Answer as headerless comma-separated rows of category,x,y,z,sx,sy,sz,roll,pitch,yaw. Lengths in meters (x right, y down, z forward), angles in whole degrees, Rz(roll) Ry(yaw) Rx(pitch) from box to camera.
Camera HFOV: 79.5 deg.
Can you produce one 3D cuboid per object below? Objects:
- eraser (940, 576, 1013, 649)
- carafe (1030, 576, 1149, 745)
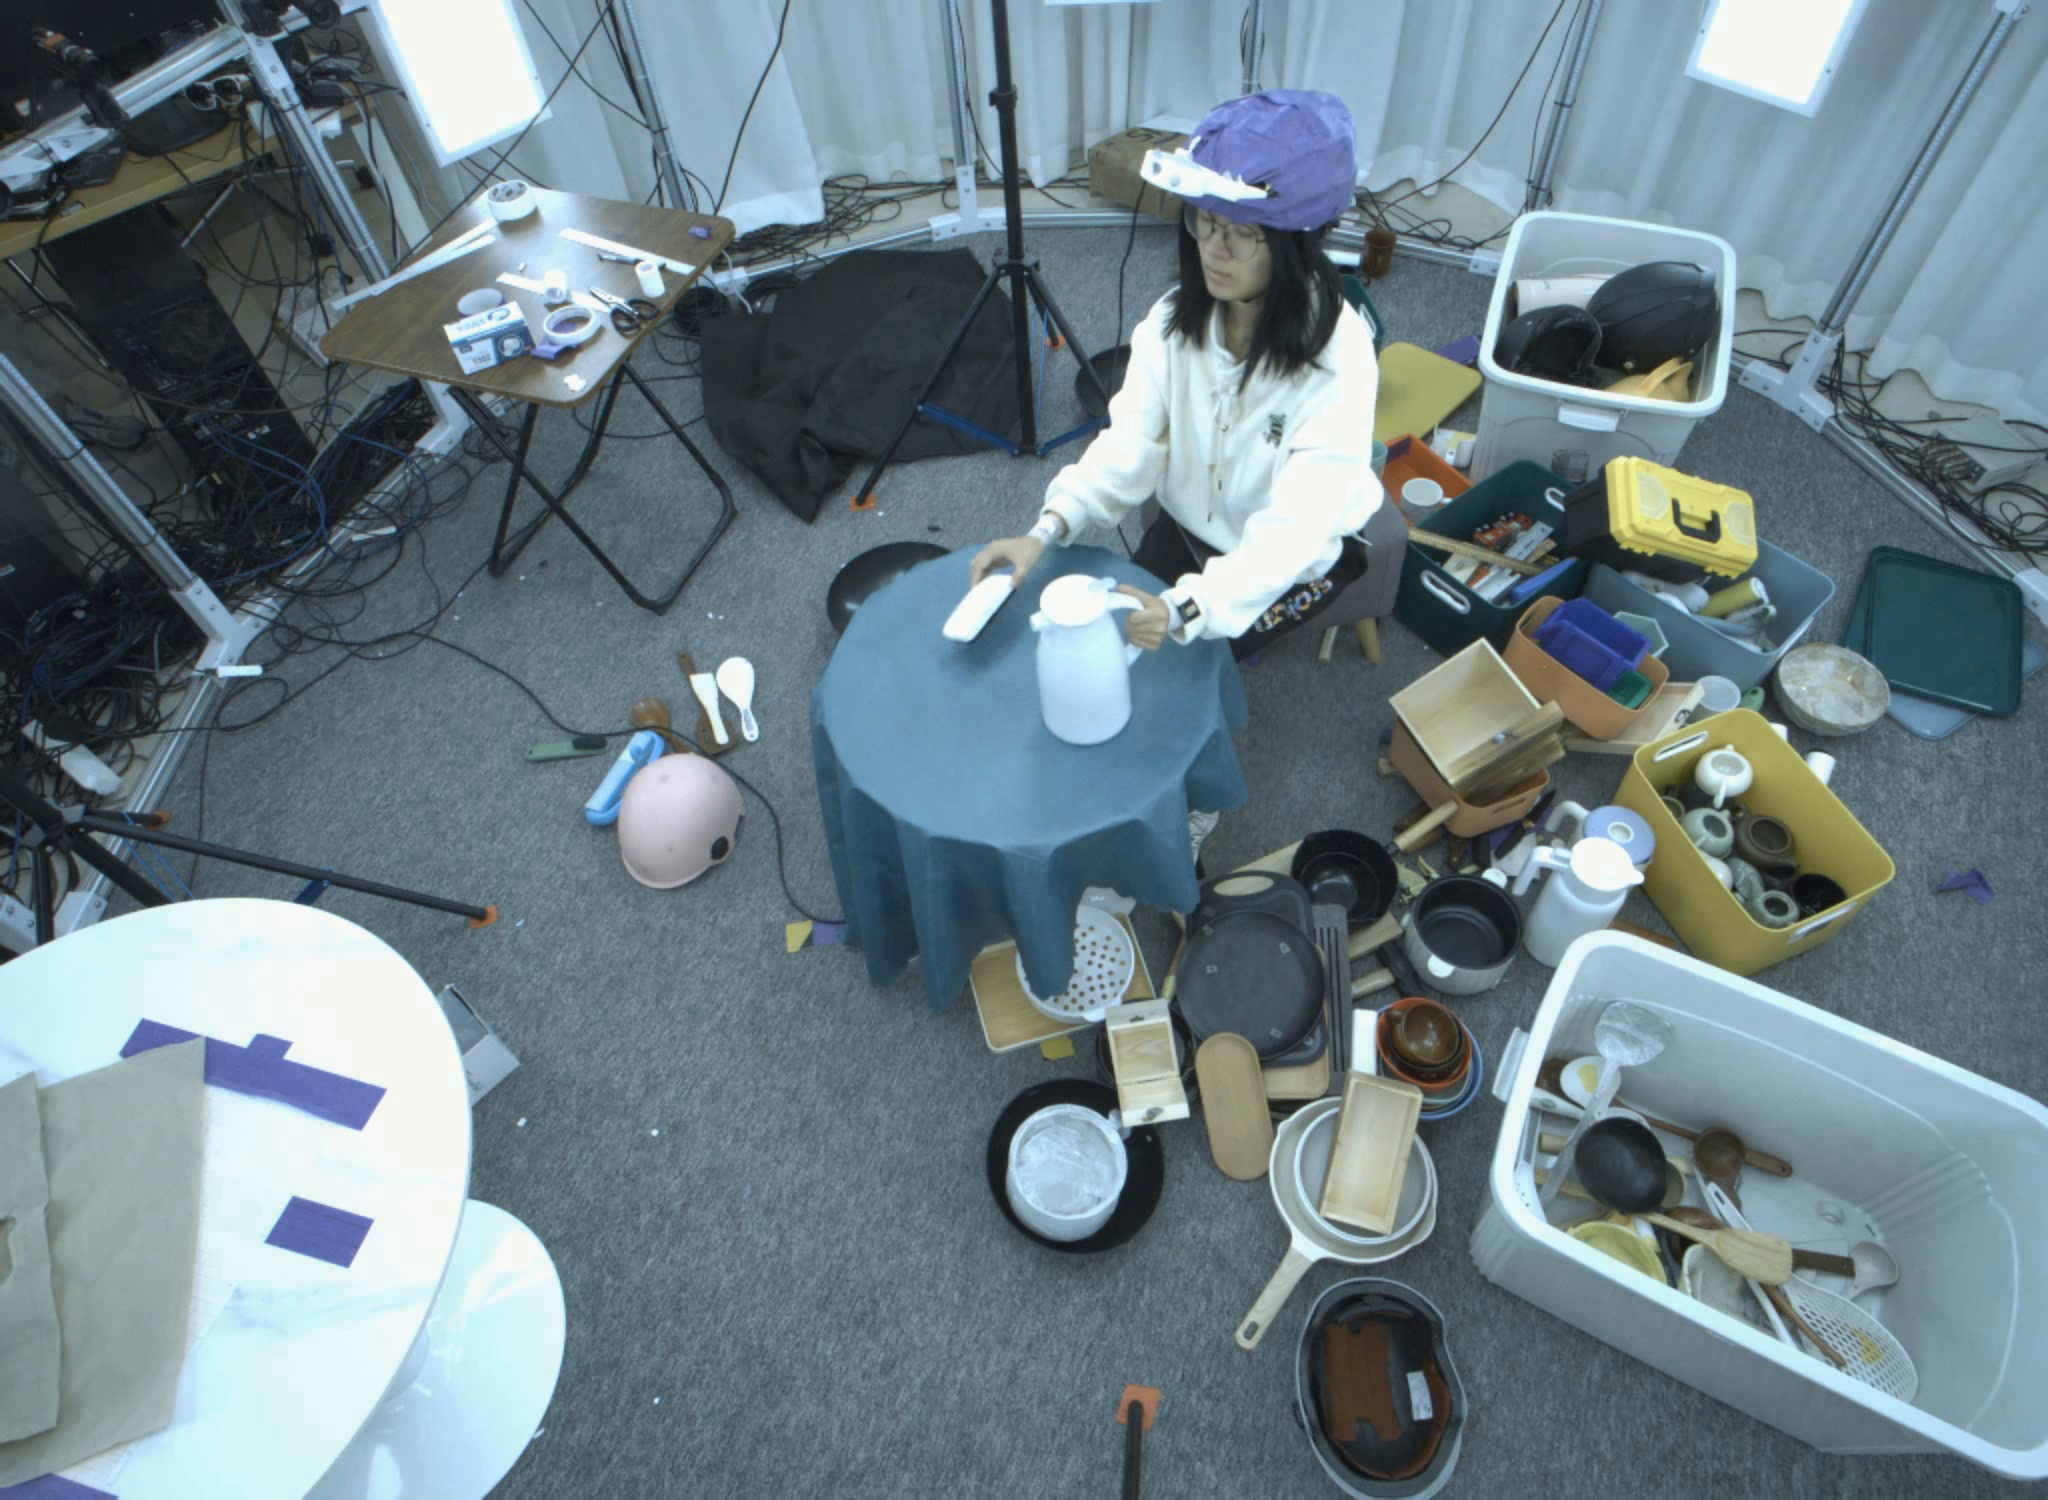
eraser,-0.072,-0.213,1.875,0.062,0.035,0.131,17,63,44
carafe,0.095,-0.138,1.724,0.168,0.251,0.130,-21,55,-9
